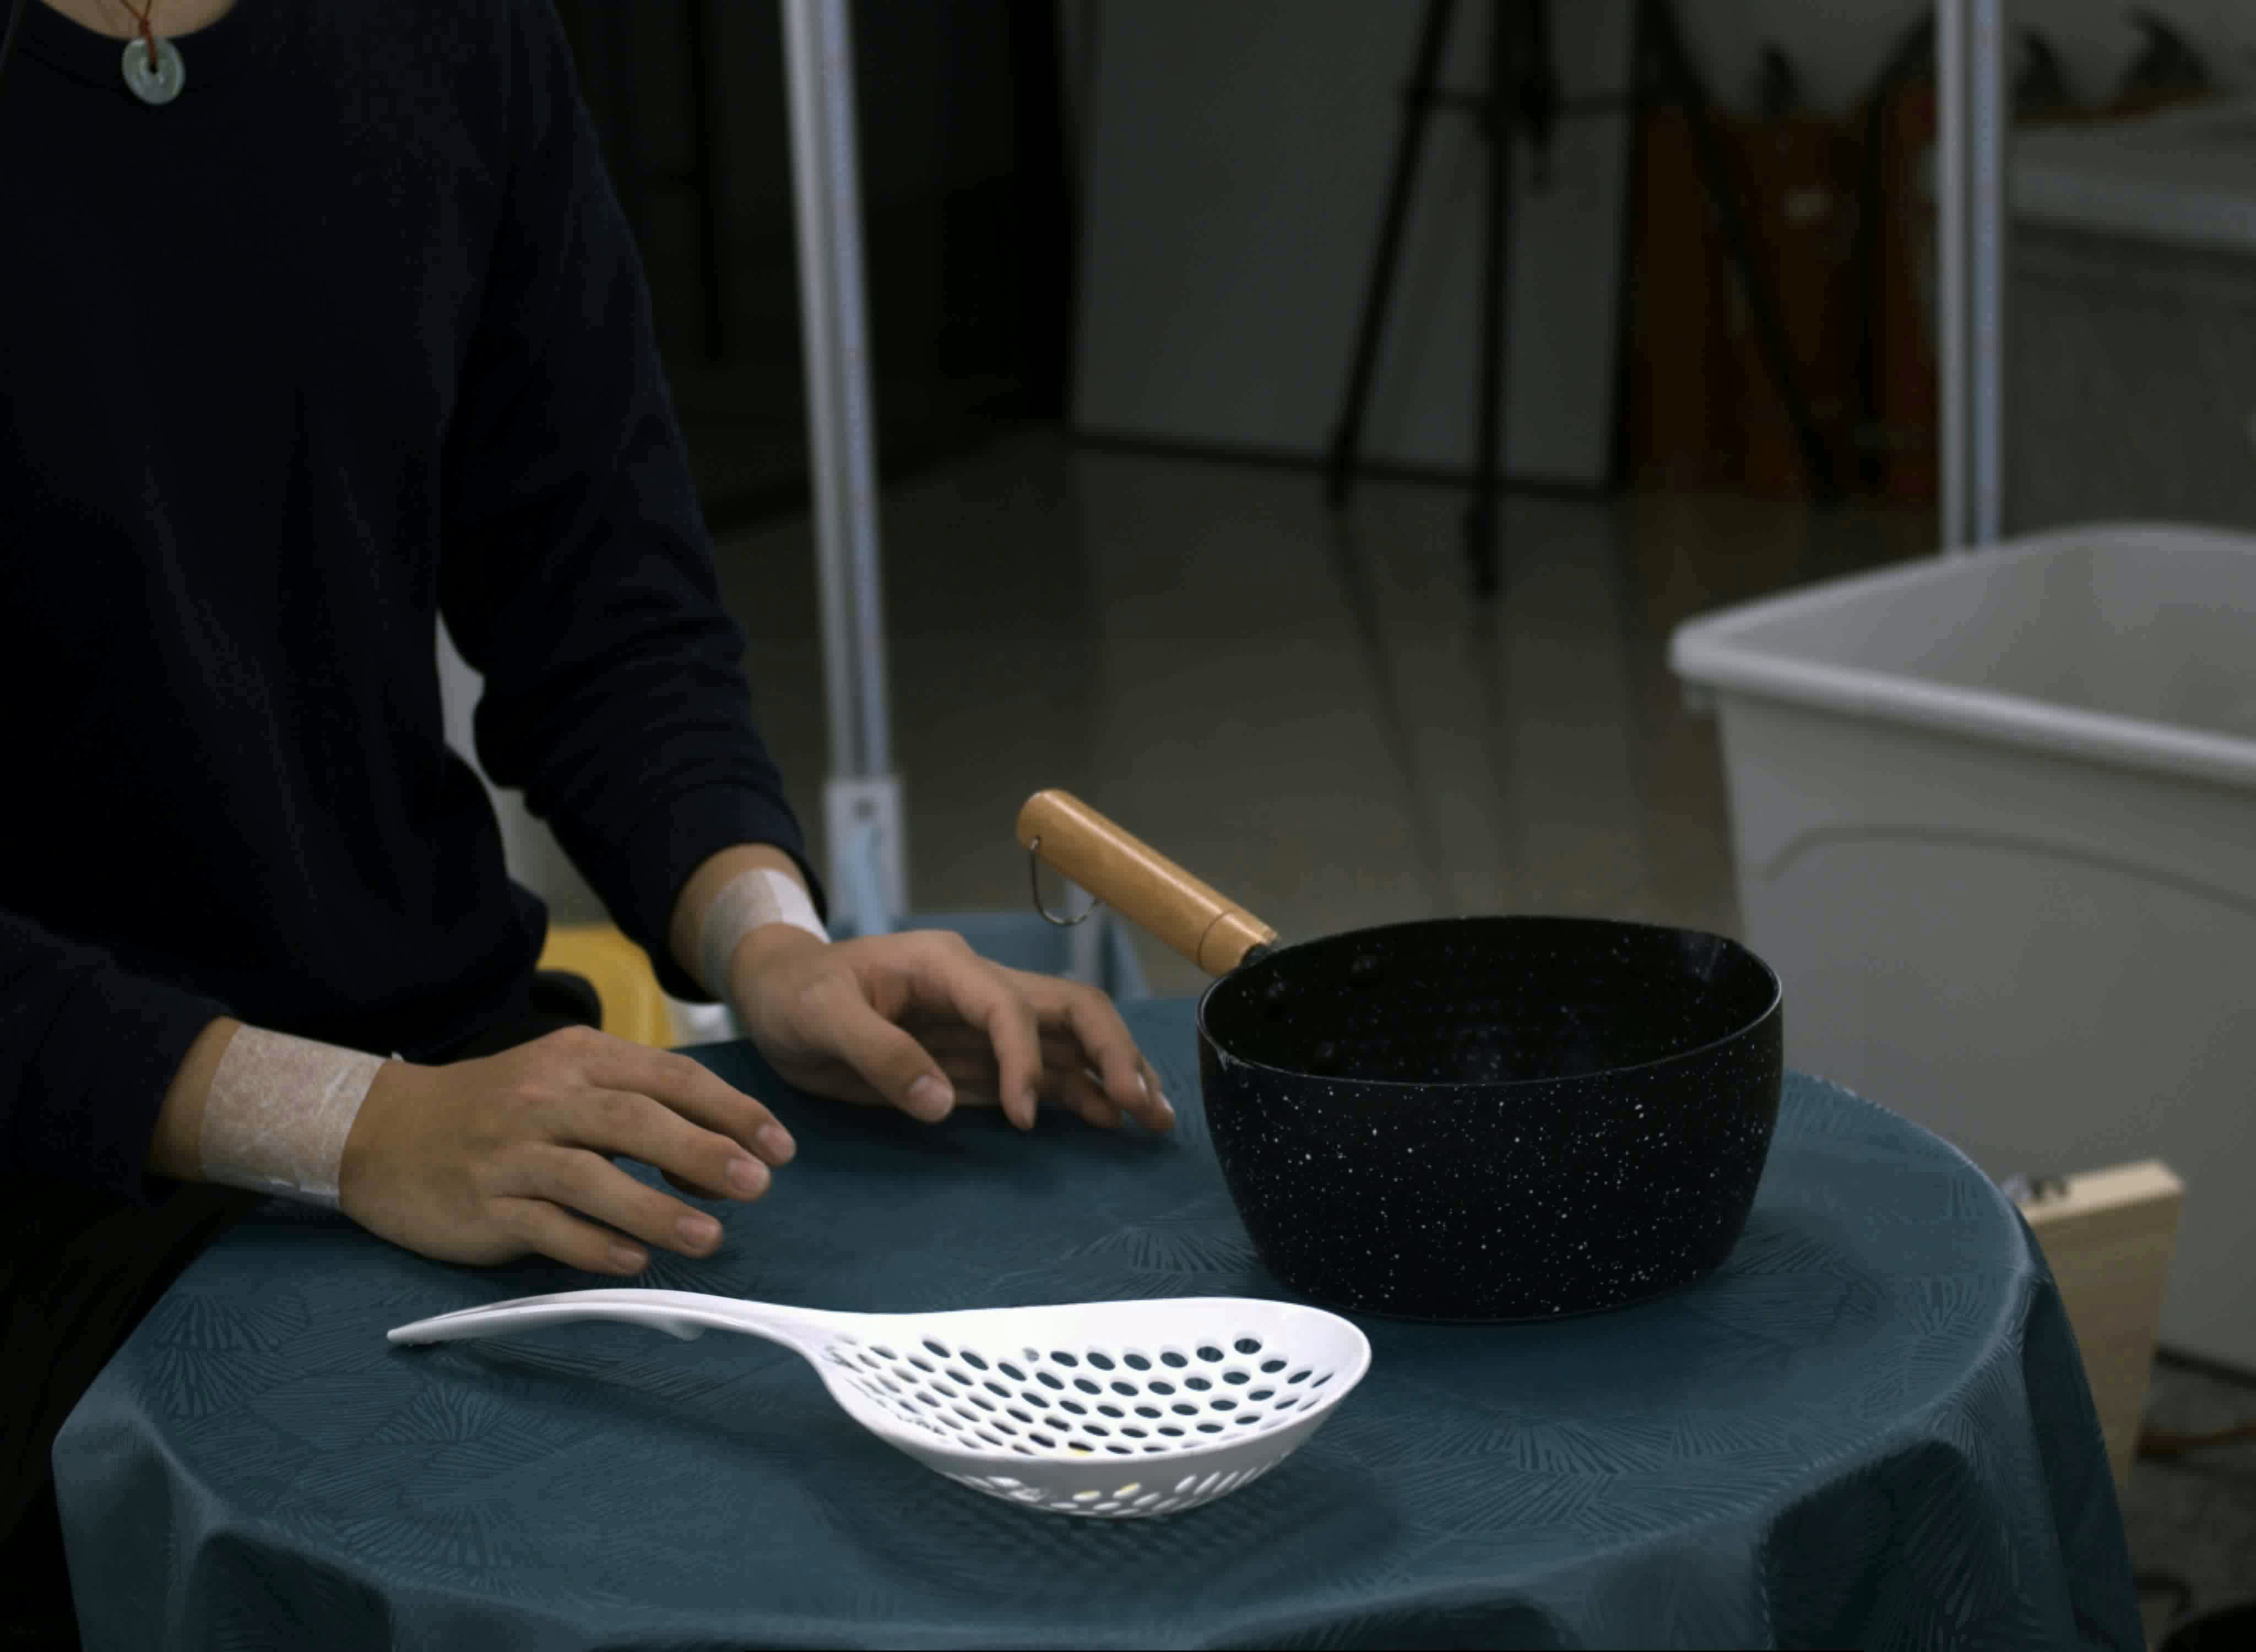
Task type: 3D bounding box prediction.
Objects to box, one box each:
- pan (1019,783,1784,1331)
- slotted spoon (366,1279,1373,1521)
[{"bbox_3d":[0.067,0.068,1.741,0.203,0.109,0.346,-14,18,-33],"label":"pan"},{"bbox_3d":[-0.087,0.157,1.562,0.350,0.051,0.134,8,20,36],"label":"slotted spoon"}]
